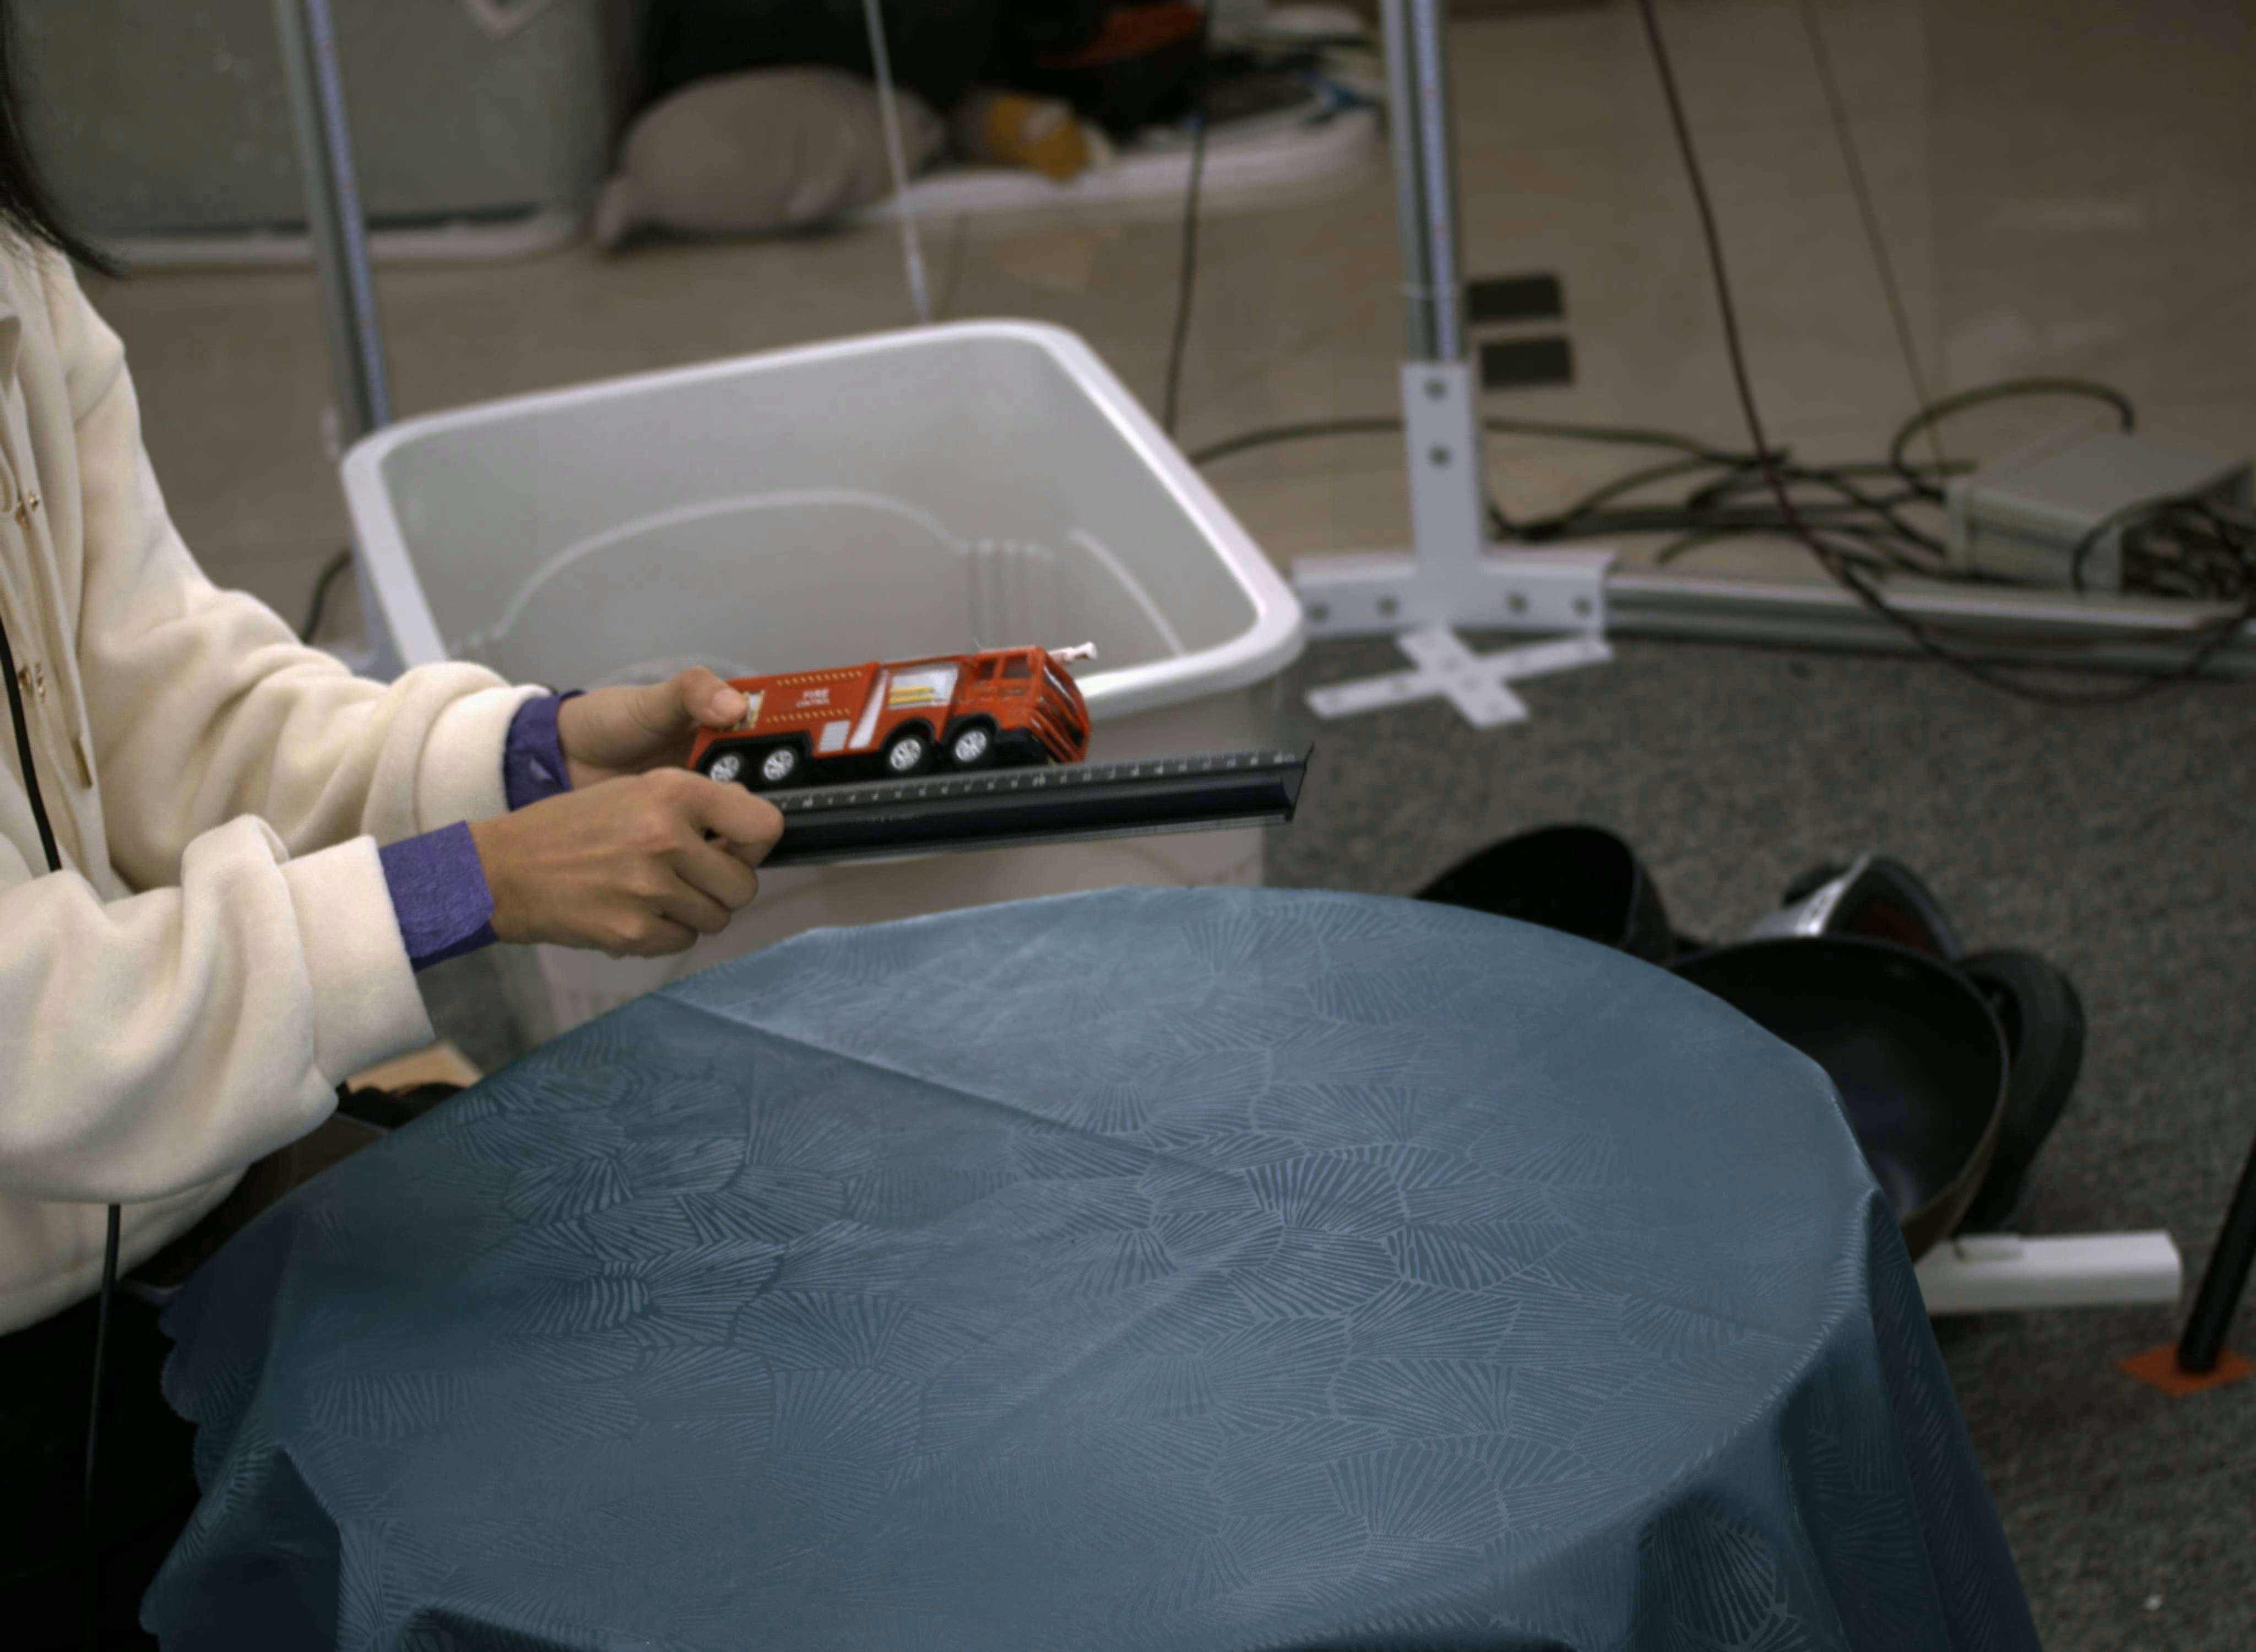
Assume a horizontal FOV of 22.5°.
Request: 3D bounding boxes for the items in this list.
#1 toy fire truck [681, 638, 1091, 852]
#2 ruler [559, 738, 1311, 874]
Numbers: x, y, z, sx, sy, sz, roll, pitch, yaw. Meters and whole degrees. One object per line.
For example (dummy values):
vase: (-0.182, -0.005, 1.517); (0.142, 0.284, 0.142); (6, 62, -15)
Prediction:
toy fire truck: (-0.091, -0.032, 2.176); (0.168, 0.055, 0.069); (-7, 56, 32)
ruler: (-0.076, -0.012, 2.106); (0.312, 0.017, 0.038); (-5, 47, 28)
